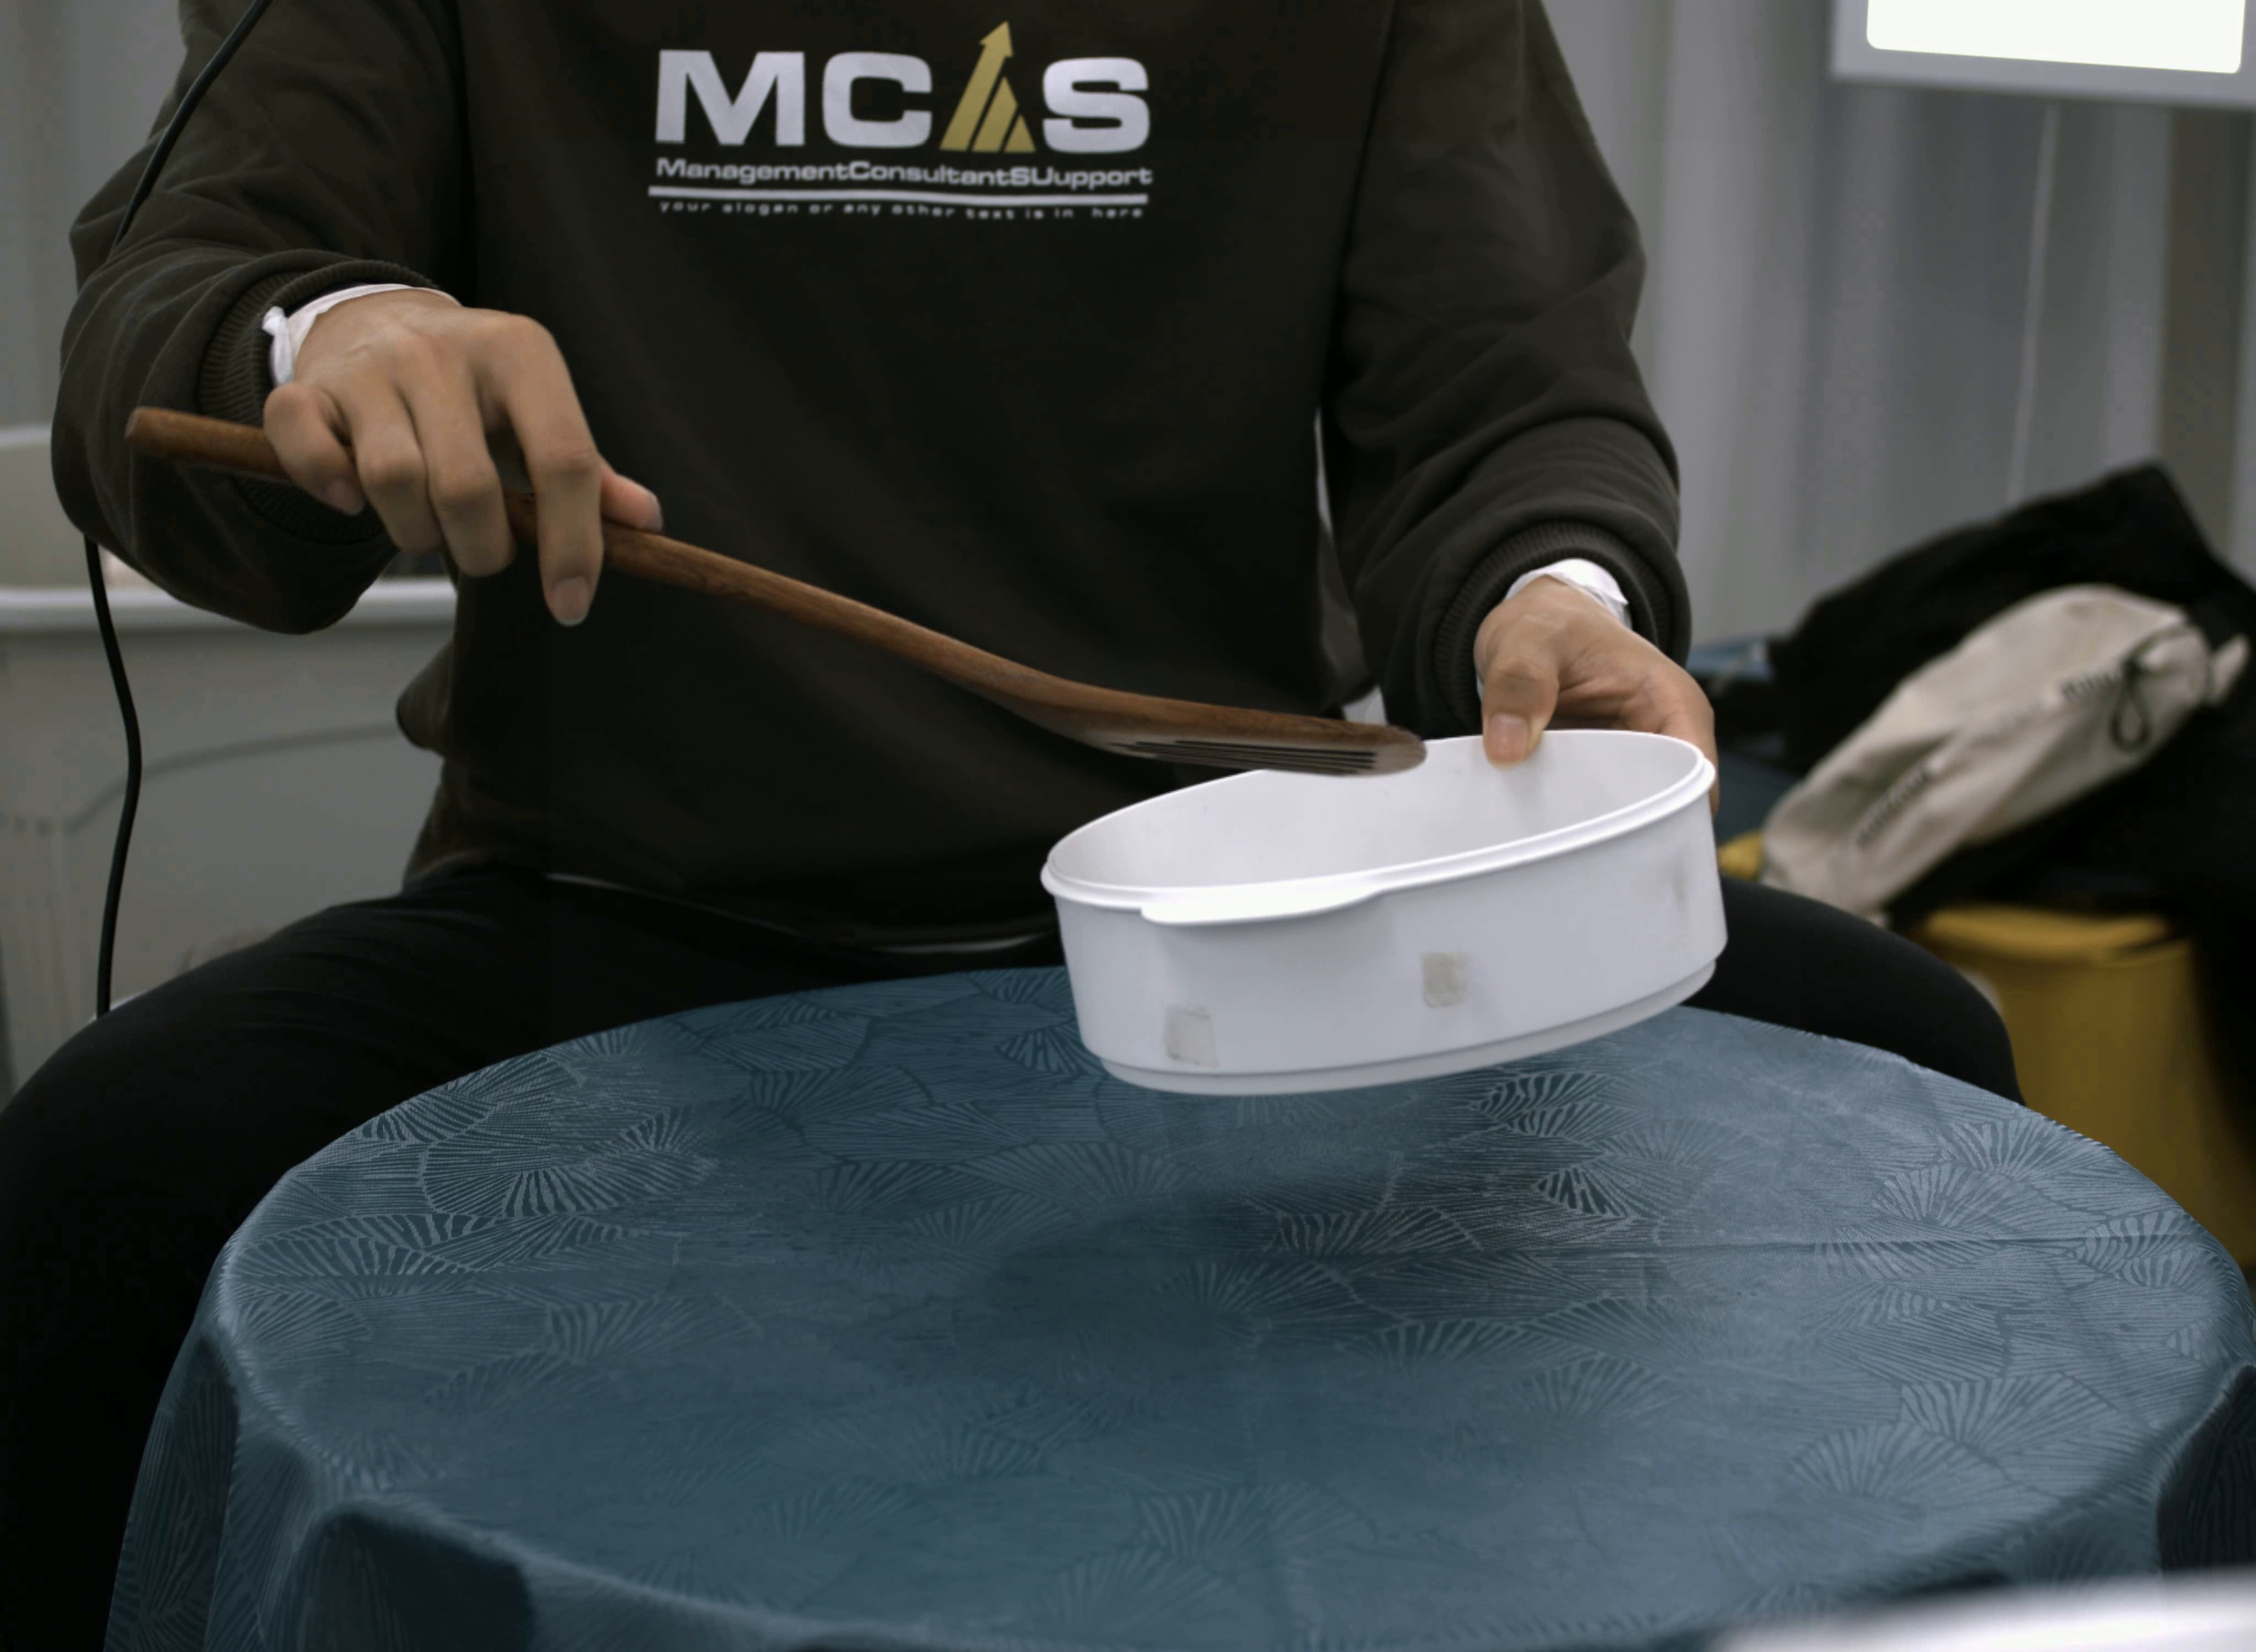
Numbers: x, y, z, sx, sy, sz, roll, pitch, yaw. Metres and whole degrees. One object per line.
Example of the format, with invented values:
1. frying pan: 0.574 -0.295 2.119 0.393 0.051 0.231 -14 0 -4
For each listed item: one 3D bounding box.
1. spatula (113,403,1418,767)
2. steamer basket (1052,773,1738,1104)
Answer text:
1. spatula: -0.103 -0.064 1.515 0.385 0.024 0.086 16 -6 -7
2. steamer basket: 0.081 0.033 1.547 0.200 0.069 0.231 -3 8 23
